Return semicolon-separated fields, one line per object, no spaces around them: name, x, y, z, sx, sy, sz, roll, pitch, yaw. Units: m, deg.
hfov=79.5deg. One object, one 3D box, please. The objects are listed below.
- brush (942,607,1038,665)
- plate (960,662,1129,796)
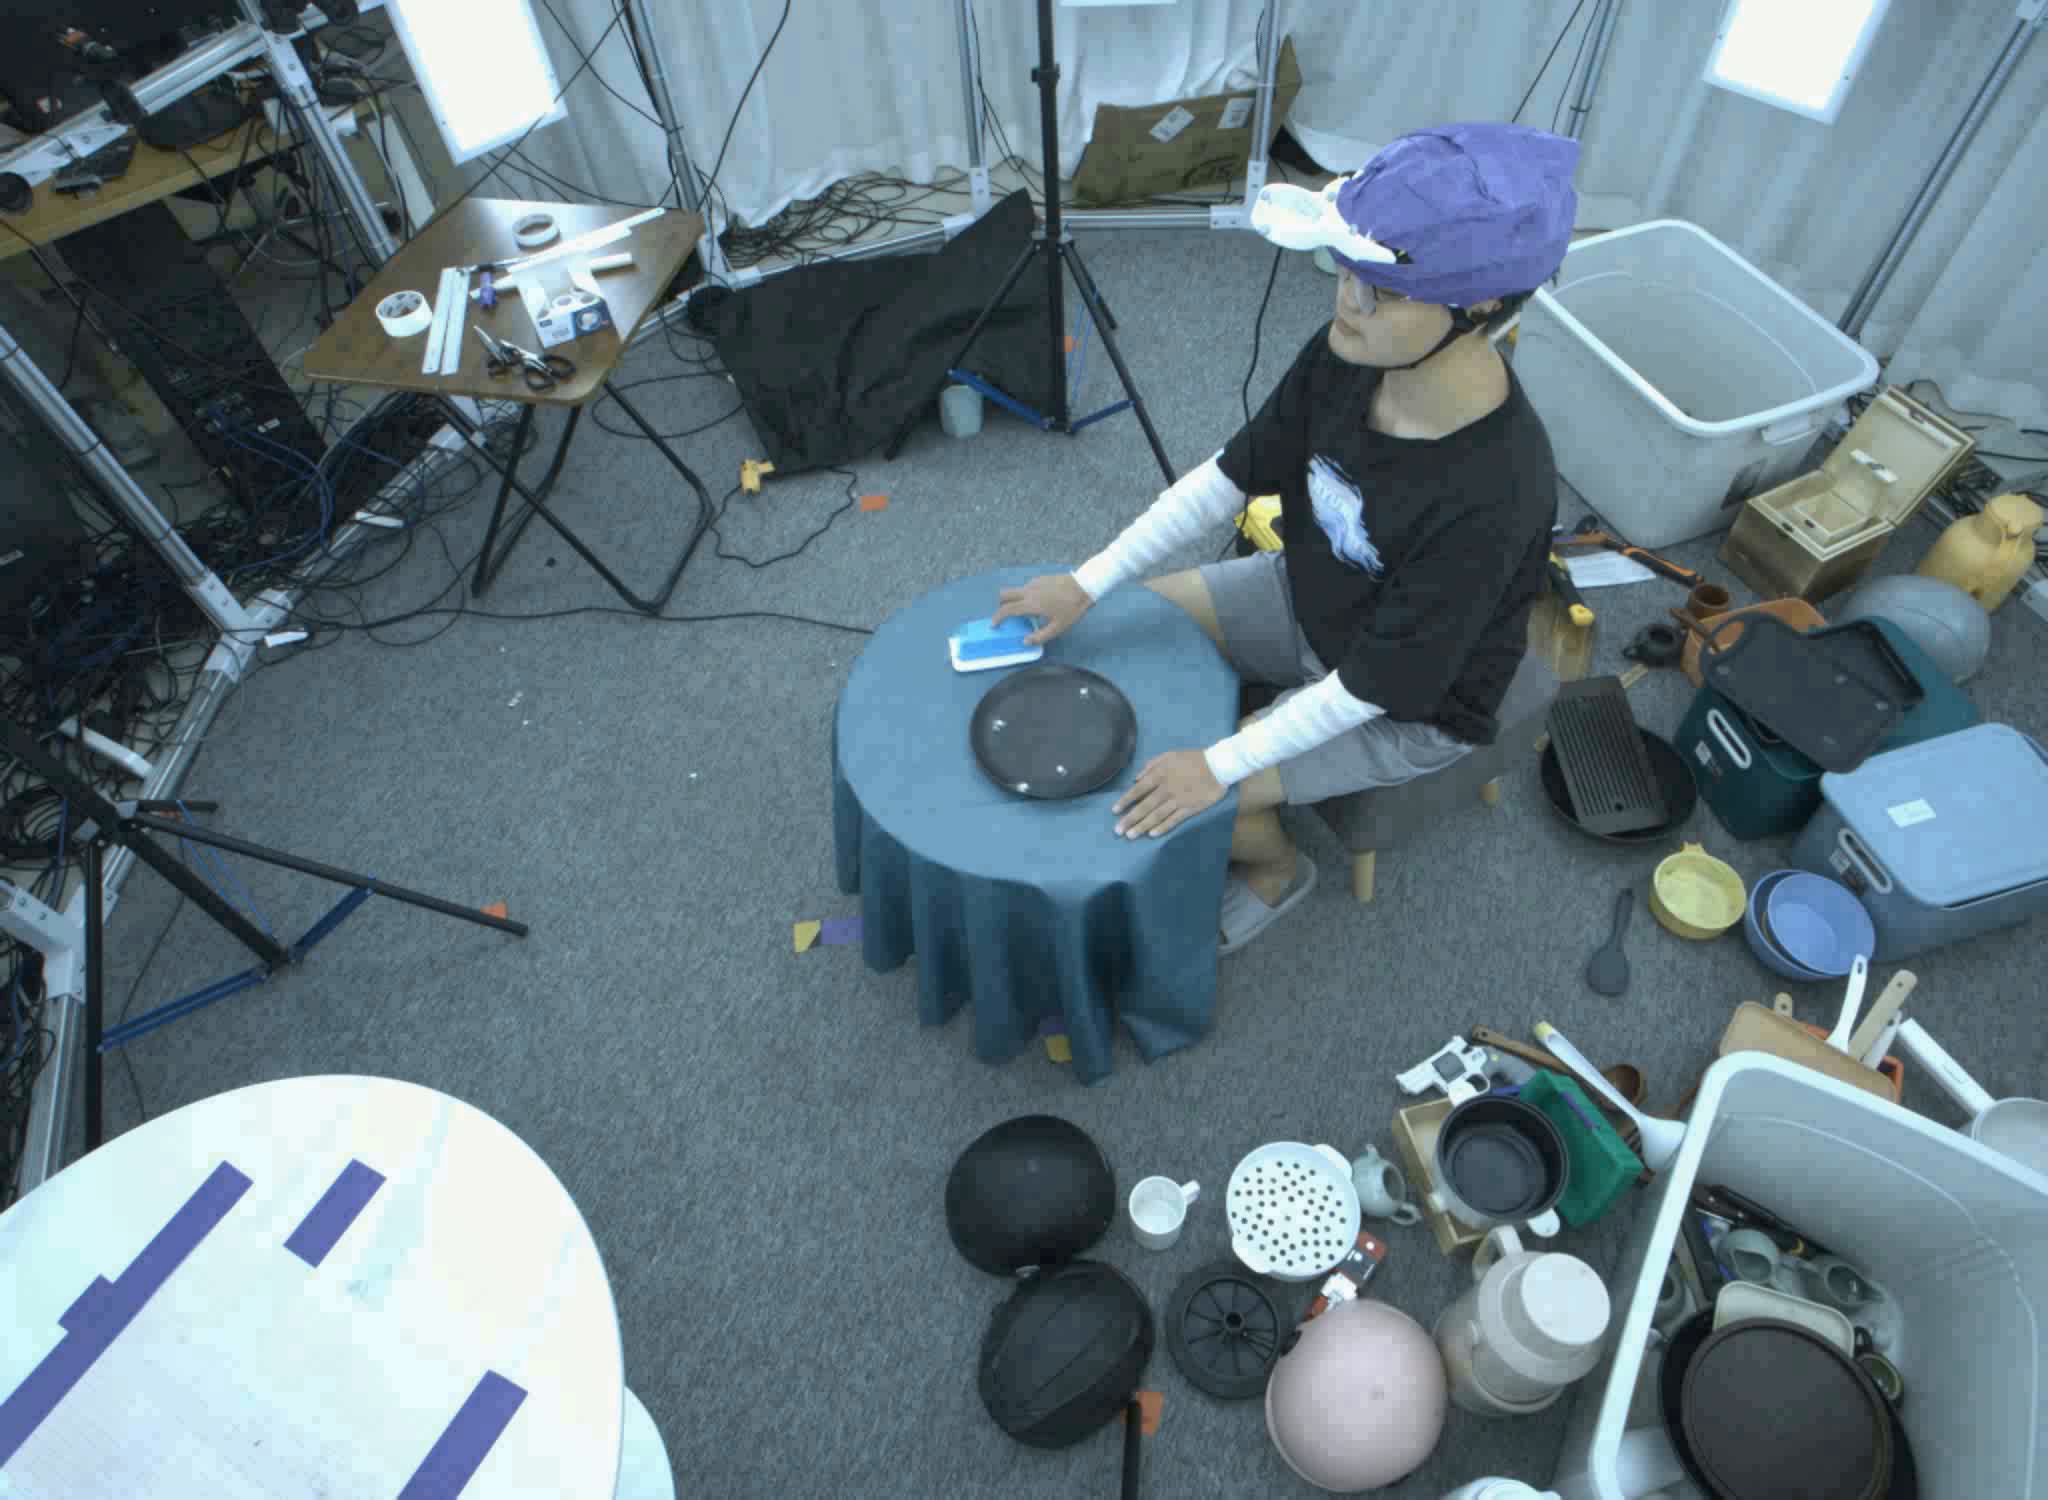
brush;-0.054;-0.182;1.871;0.144;0.056;0.082;-12;59;-2
plate;0.030;-0.029;1.783;0.244;0.024;0.242;-1;54;2
